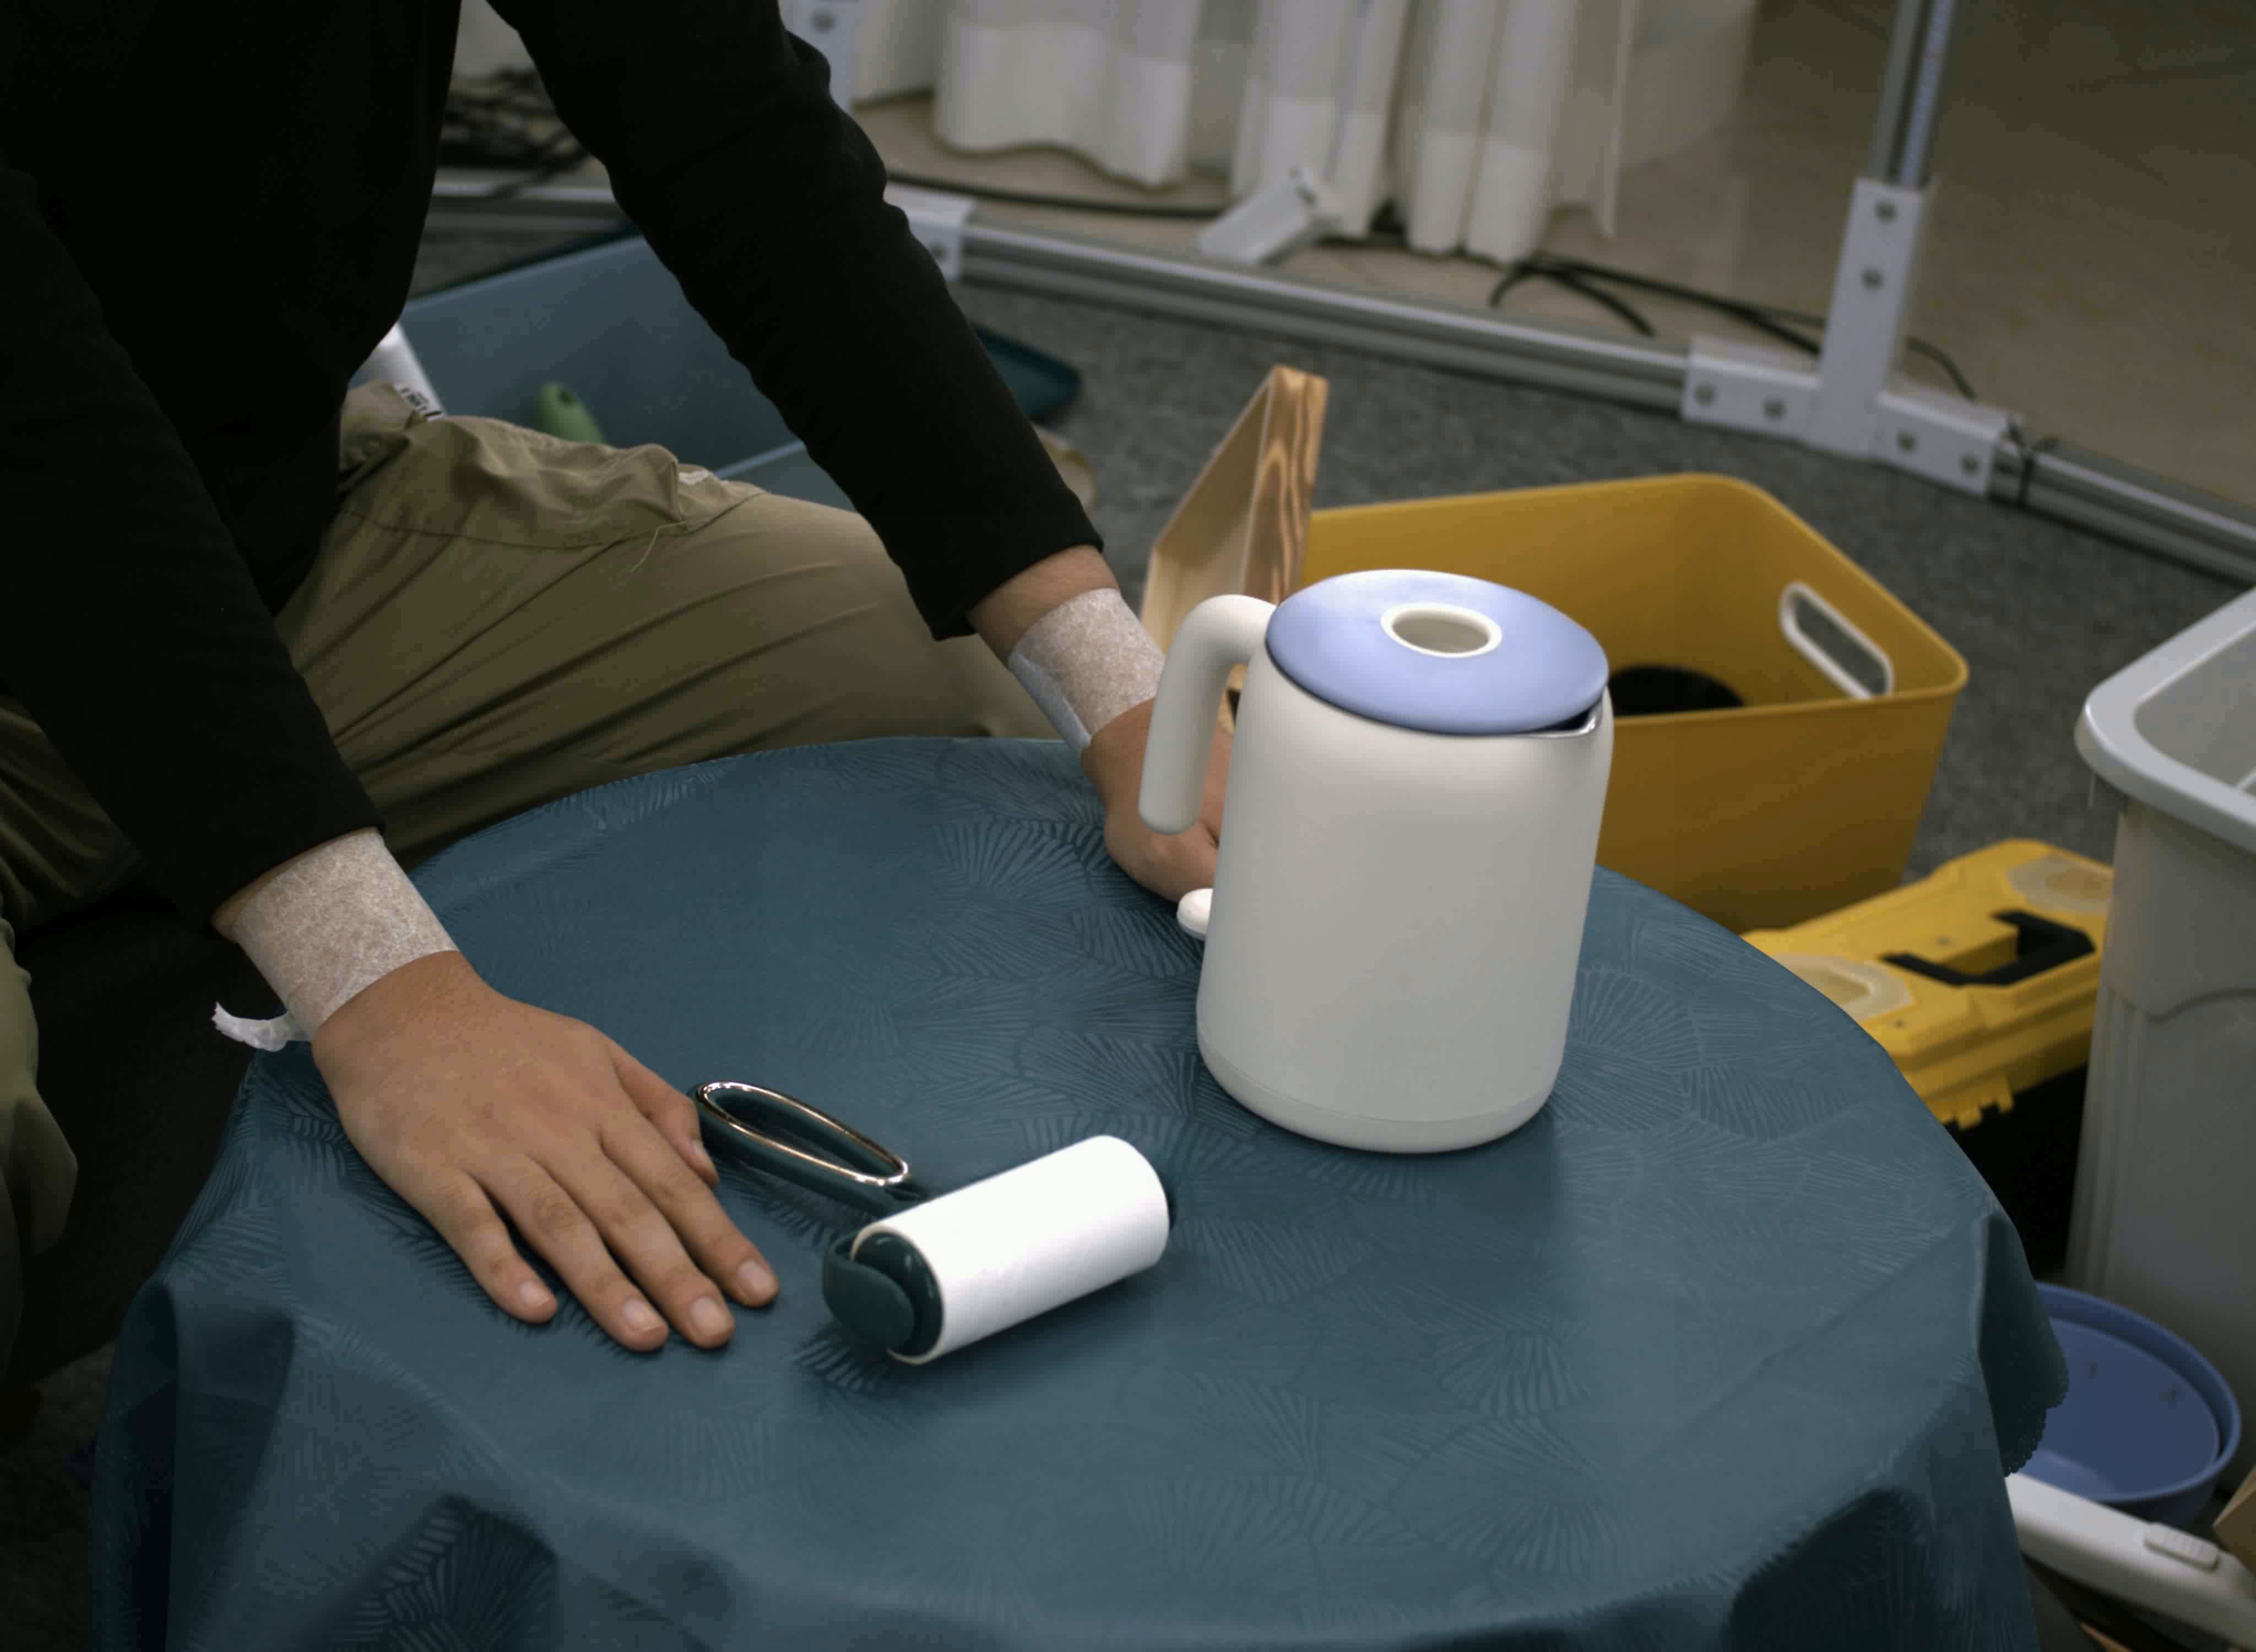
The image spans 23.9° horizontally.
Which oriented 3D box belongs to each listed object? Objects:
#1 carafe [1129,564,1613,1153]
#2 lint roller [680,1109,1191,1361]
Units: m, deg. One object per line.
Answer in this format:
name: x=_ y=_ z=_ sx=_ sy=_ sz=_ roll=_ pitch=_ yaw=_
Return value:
carafe: x=0.078 y=0.002 z=1.869 sx=0.192 sy=0.182 sz=0.131 roll=24 pitch=31 yaw=35
lint roller: x=-0.085 y=0.112 z=1.759 sx=0.133 sy=0.048 sz=0.181 roll=-19 pitch=33 yaw=-40
